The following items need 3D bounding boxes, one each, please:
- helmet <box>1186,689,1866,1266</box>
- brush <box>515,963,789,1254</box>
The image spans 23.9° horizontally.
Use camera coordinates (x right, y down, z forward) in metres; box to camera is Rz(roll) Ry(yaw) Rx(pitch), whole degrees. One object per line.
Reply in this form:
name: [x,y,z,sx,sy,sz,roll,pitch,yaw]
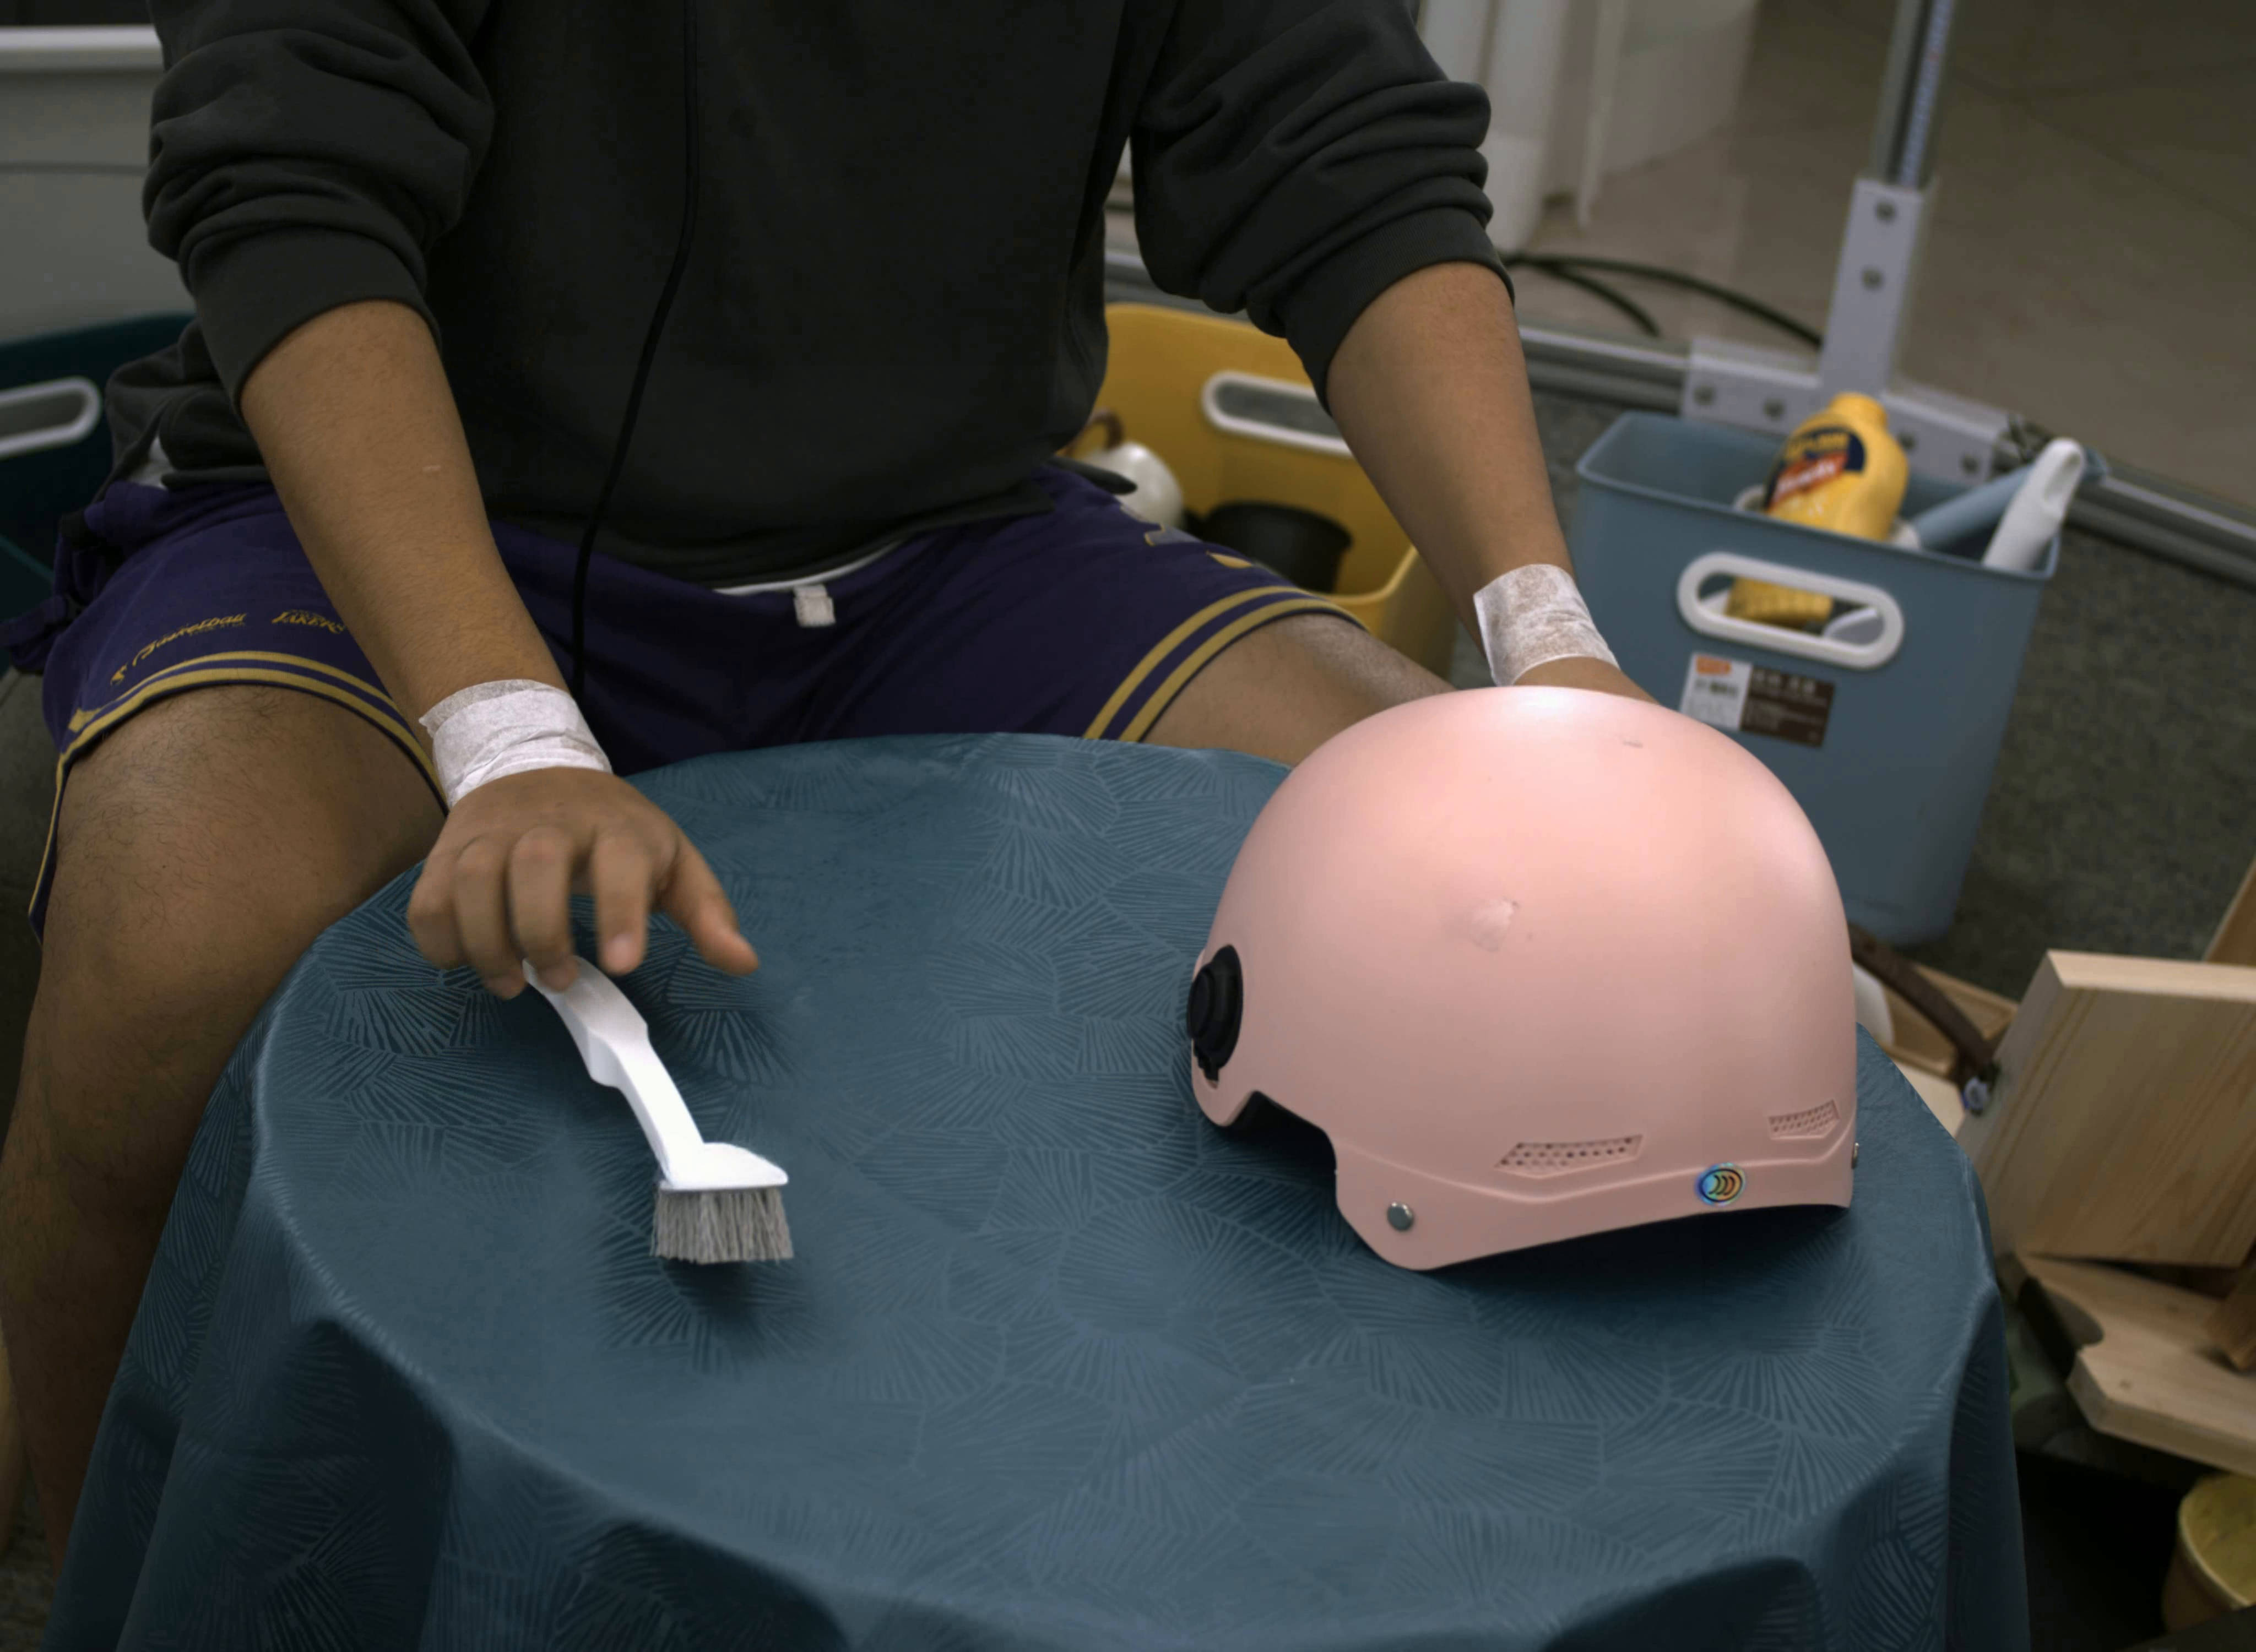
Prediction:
helmet: [0.141,0.031,1.850,0.232,0.158,0.268,-7,25,-23]
brush: [-0.164,0.098,1.791,0.034,0.050,0.245,-4,15,-22]
